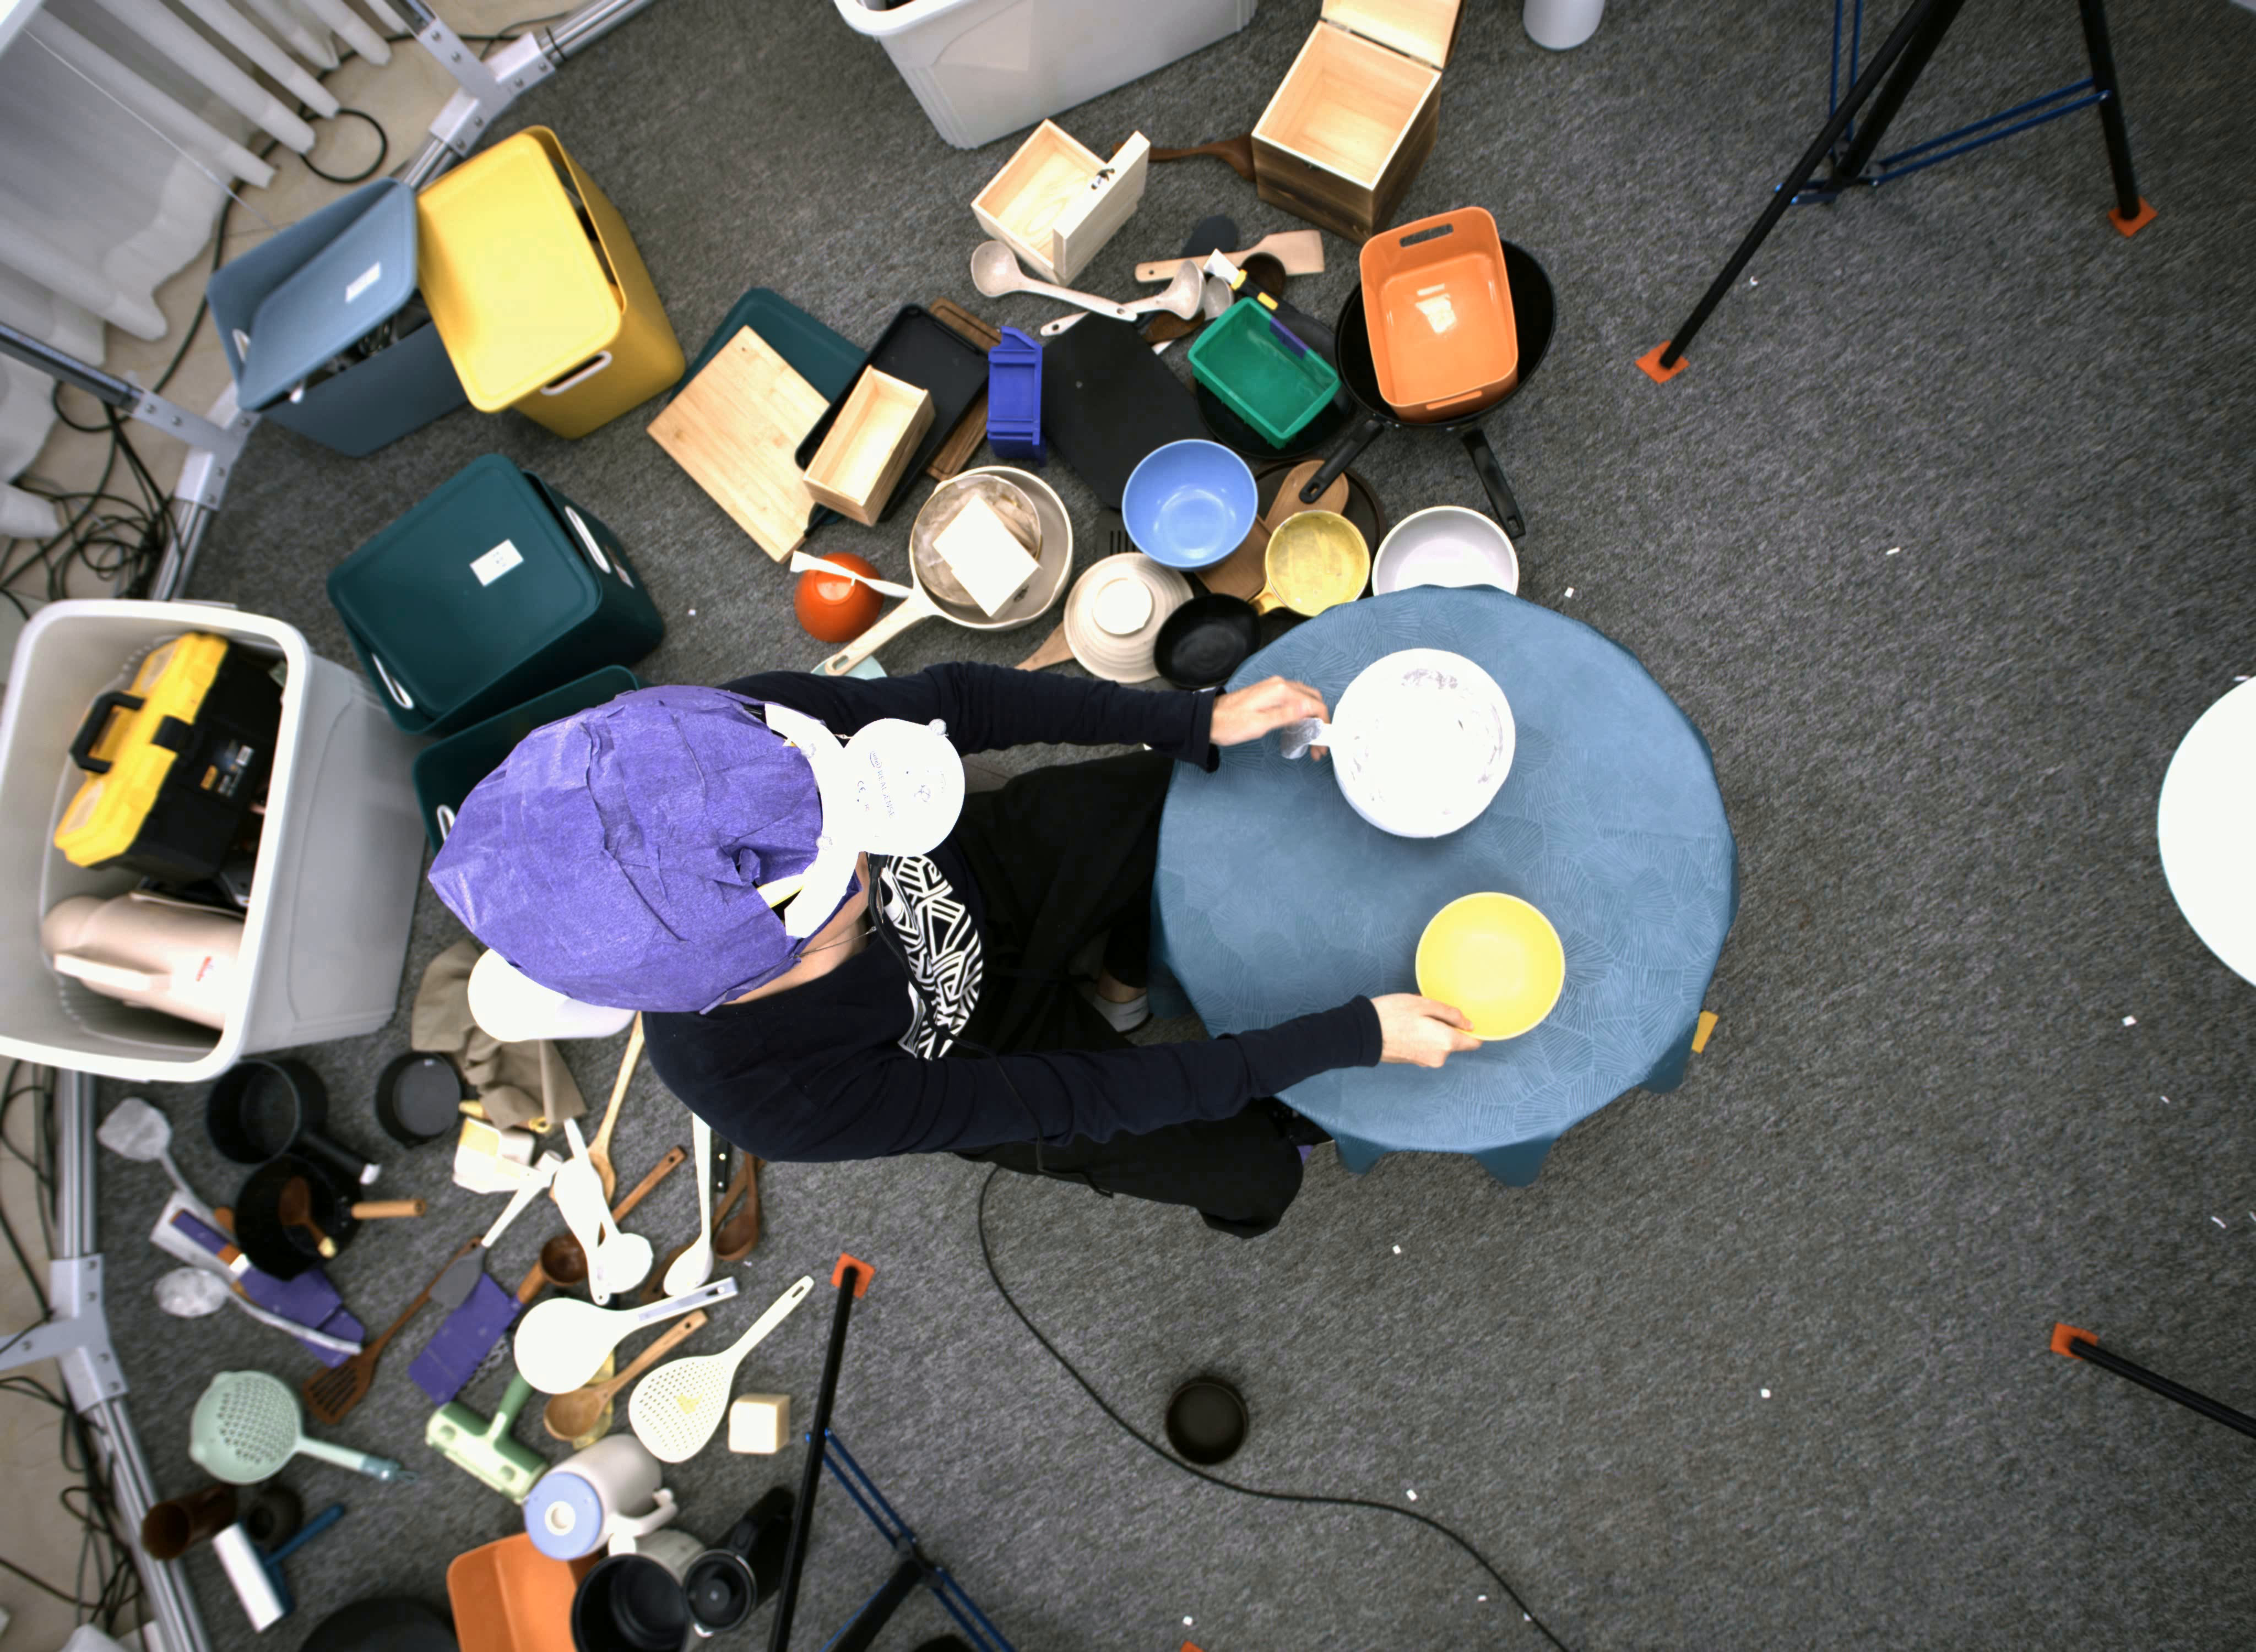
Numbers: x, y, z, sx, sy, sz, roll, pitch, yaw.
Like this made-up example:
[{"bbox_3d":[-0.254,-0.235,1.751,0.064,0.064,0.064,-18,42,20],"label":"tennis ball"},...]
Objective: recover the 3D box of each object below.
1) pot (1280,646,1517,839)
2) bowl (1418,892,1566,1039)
[{"bbox_3d":[0.269,-0.083,1.398,0.234,0.137,0.177,5,84,10],"label":"pot"},{"bbox_3d":[0.364,0.138,1.387,0.146,0.060,0.145,-1,87,12],"label":"bowl"}]
